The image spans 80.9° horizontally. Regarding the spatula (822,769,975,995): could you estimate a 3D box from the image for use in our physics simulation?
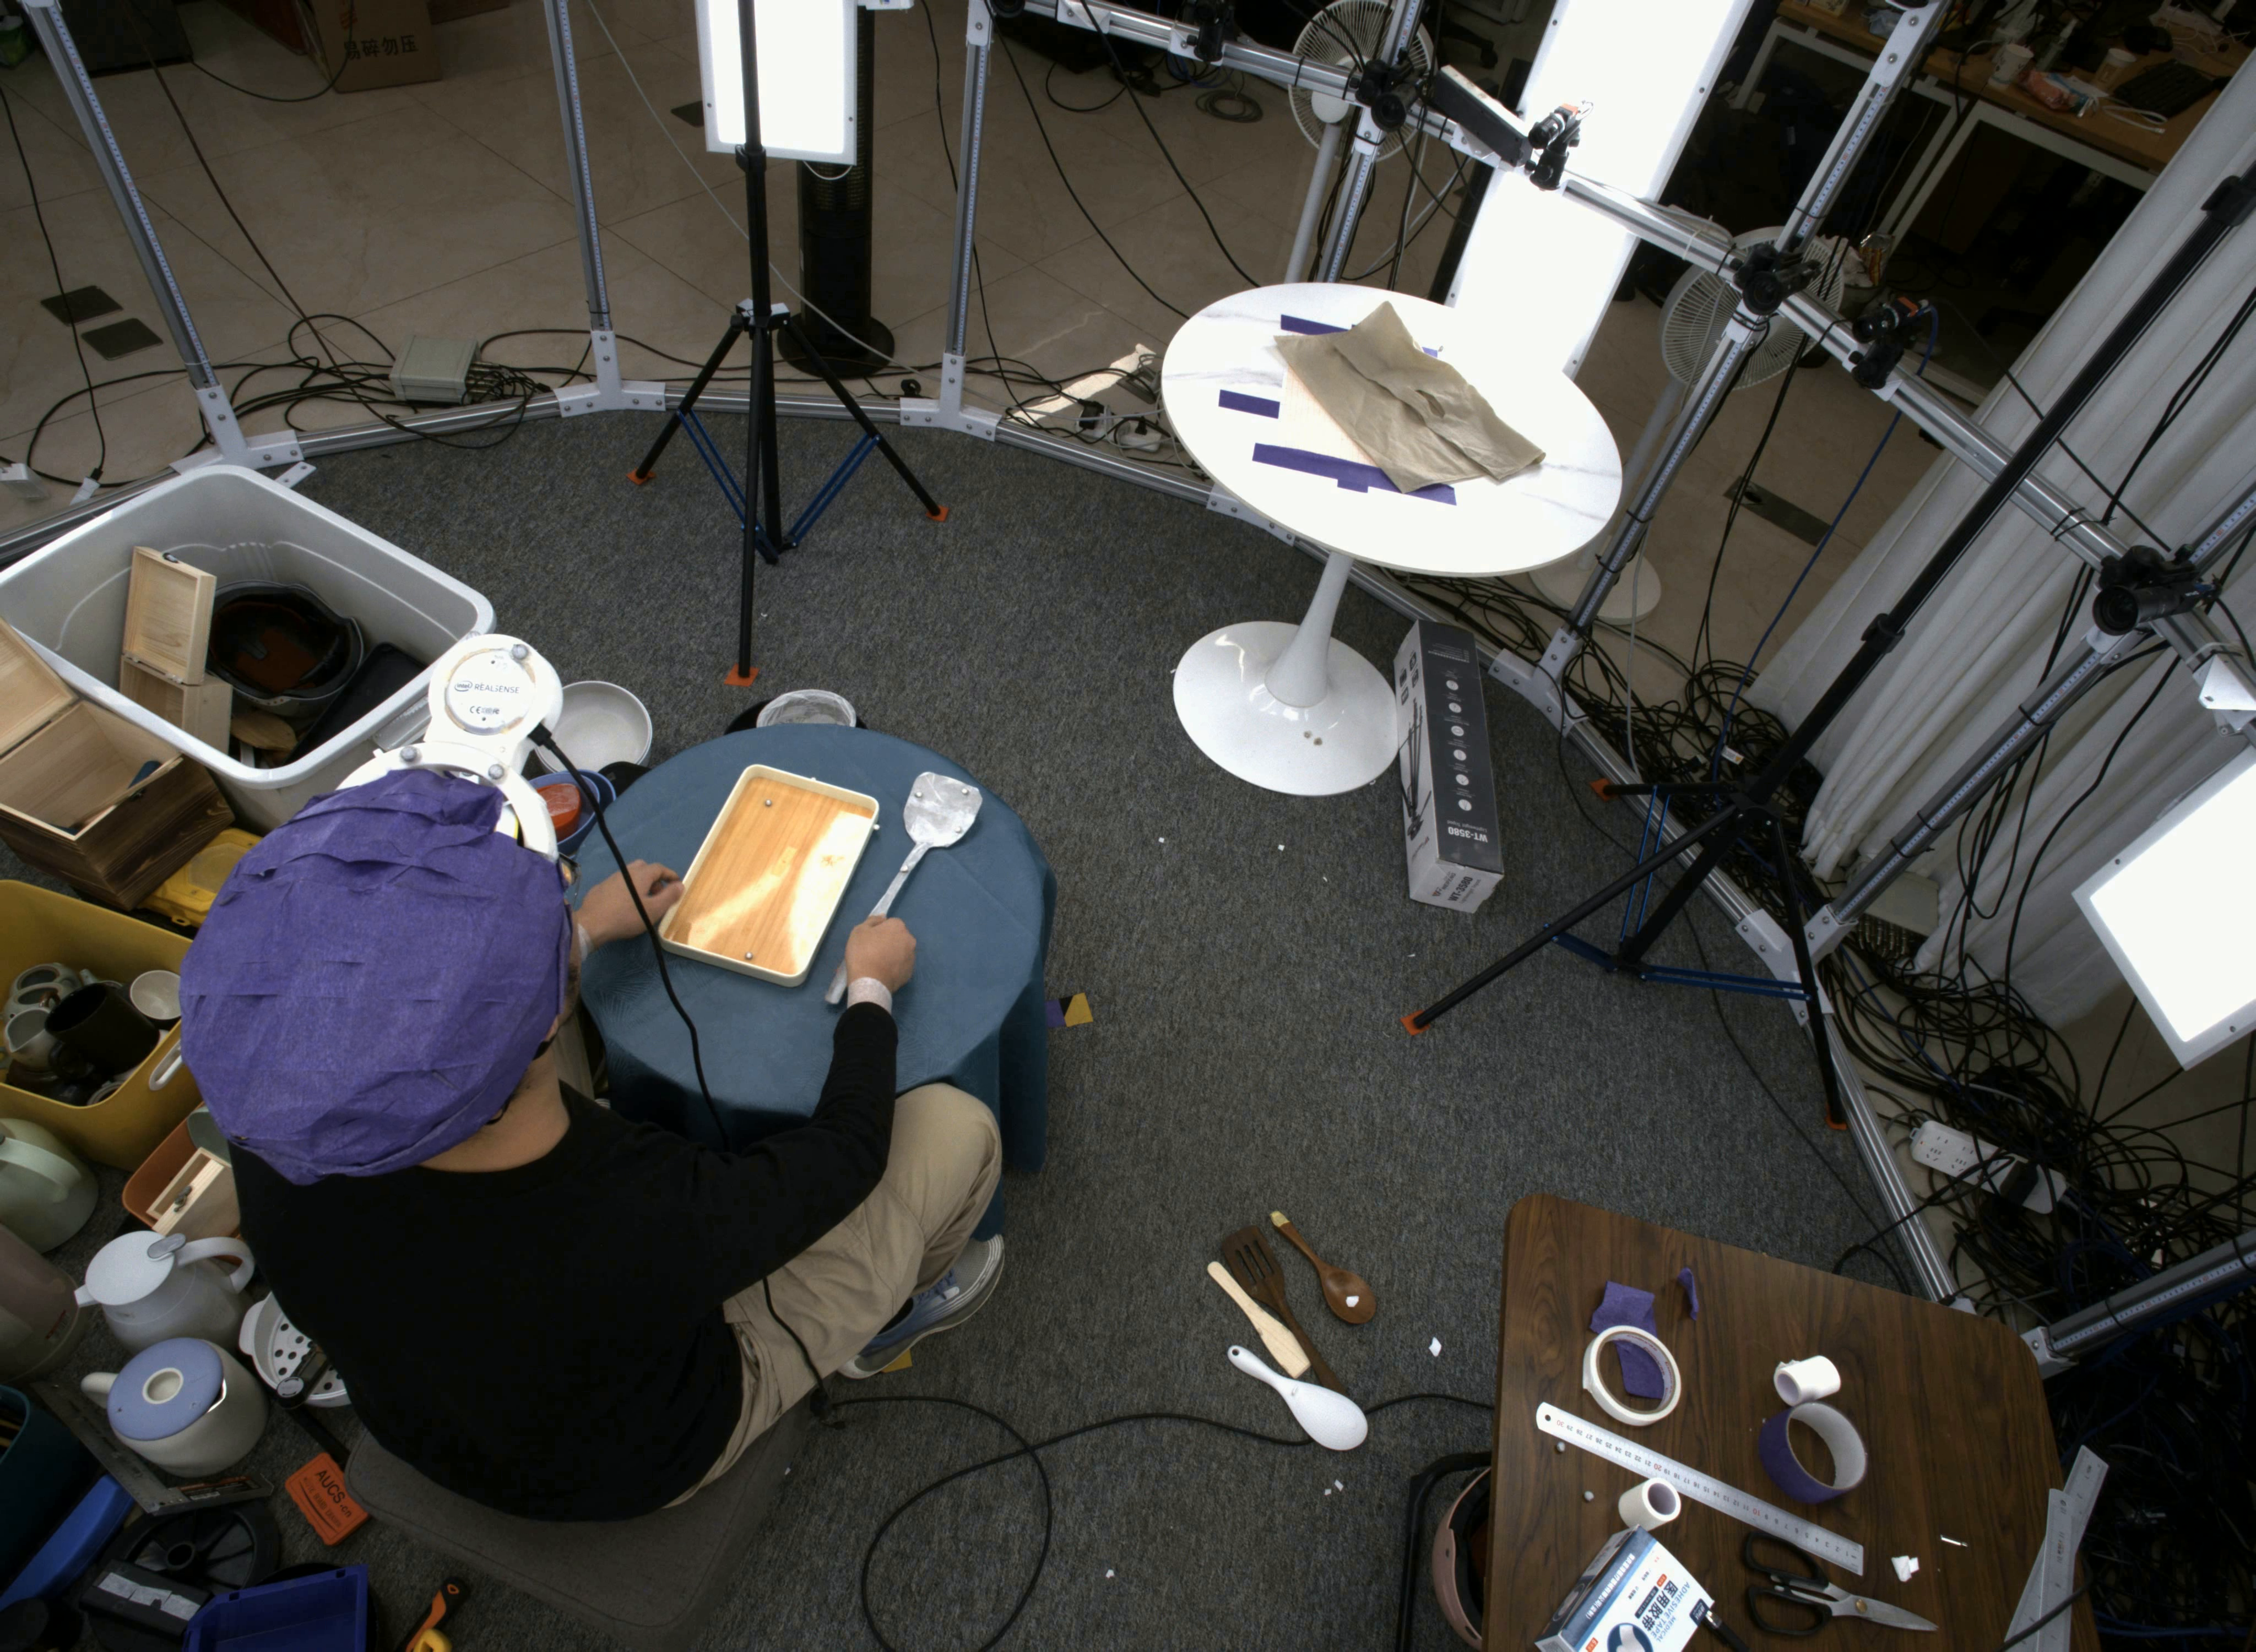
[{"bbox_3d":[-0.303,0.067,1.669,0.097,0.046,0.361,20,48,4],"label":"spatula"}]

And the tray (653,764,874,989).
[{"bbox_3d":[-0.459,0.057,1.650,0.190,0.028,0.296,17,52,-2],"label":"tray"}]
